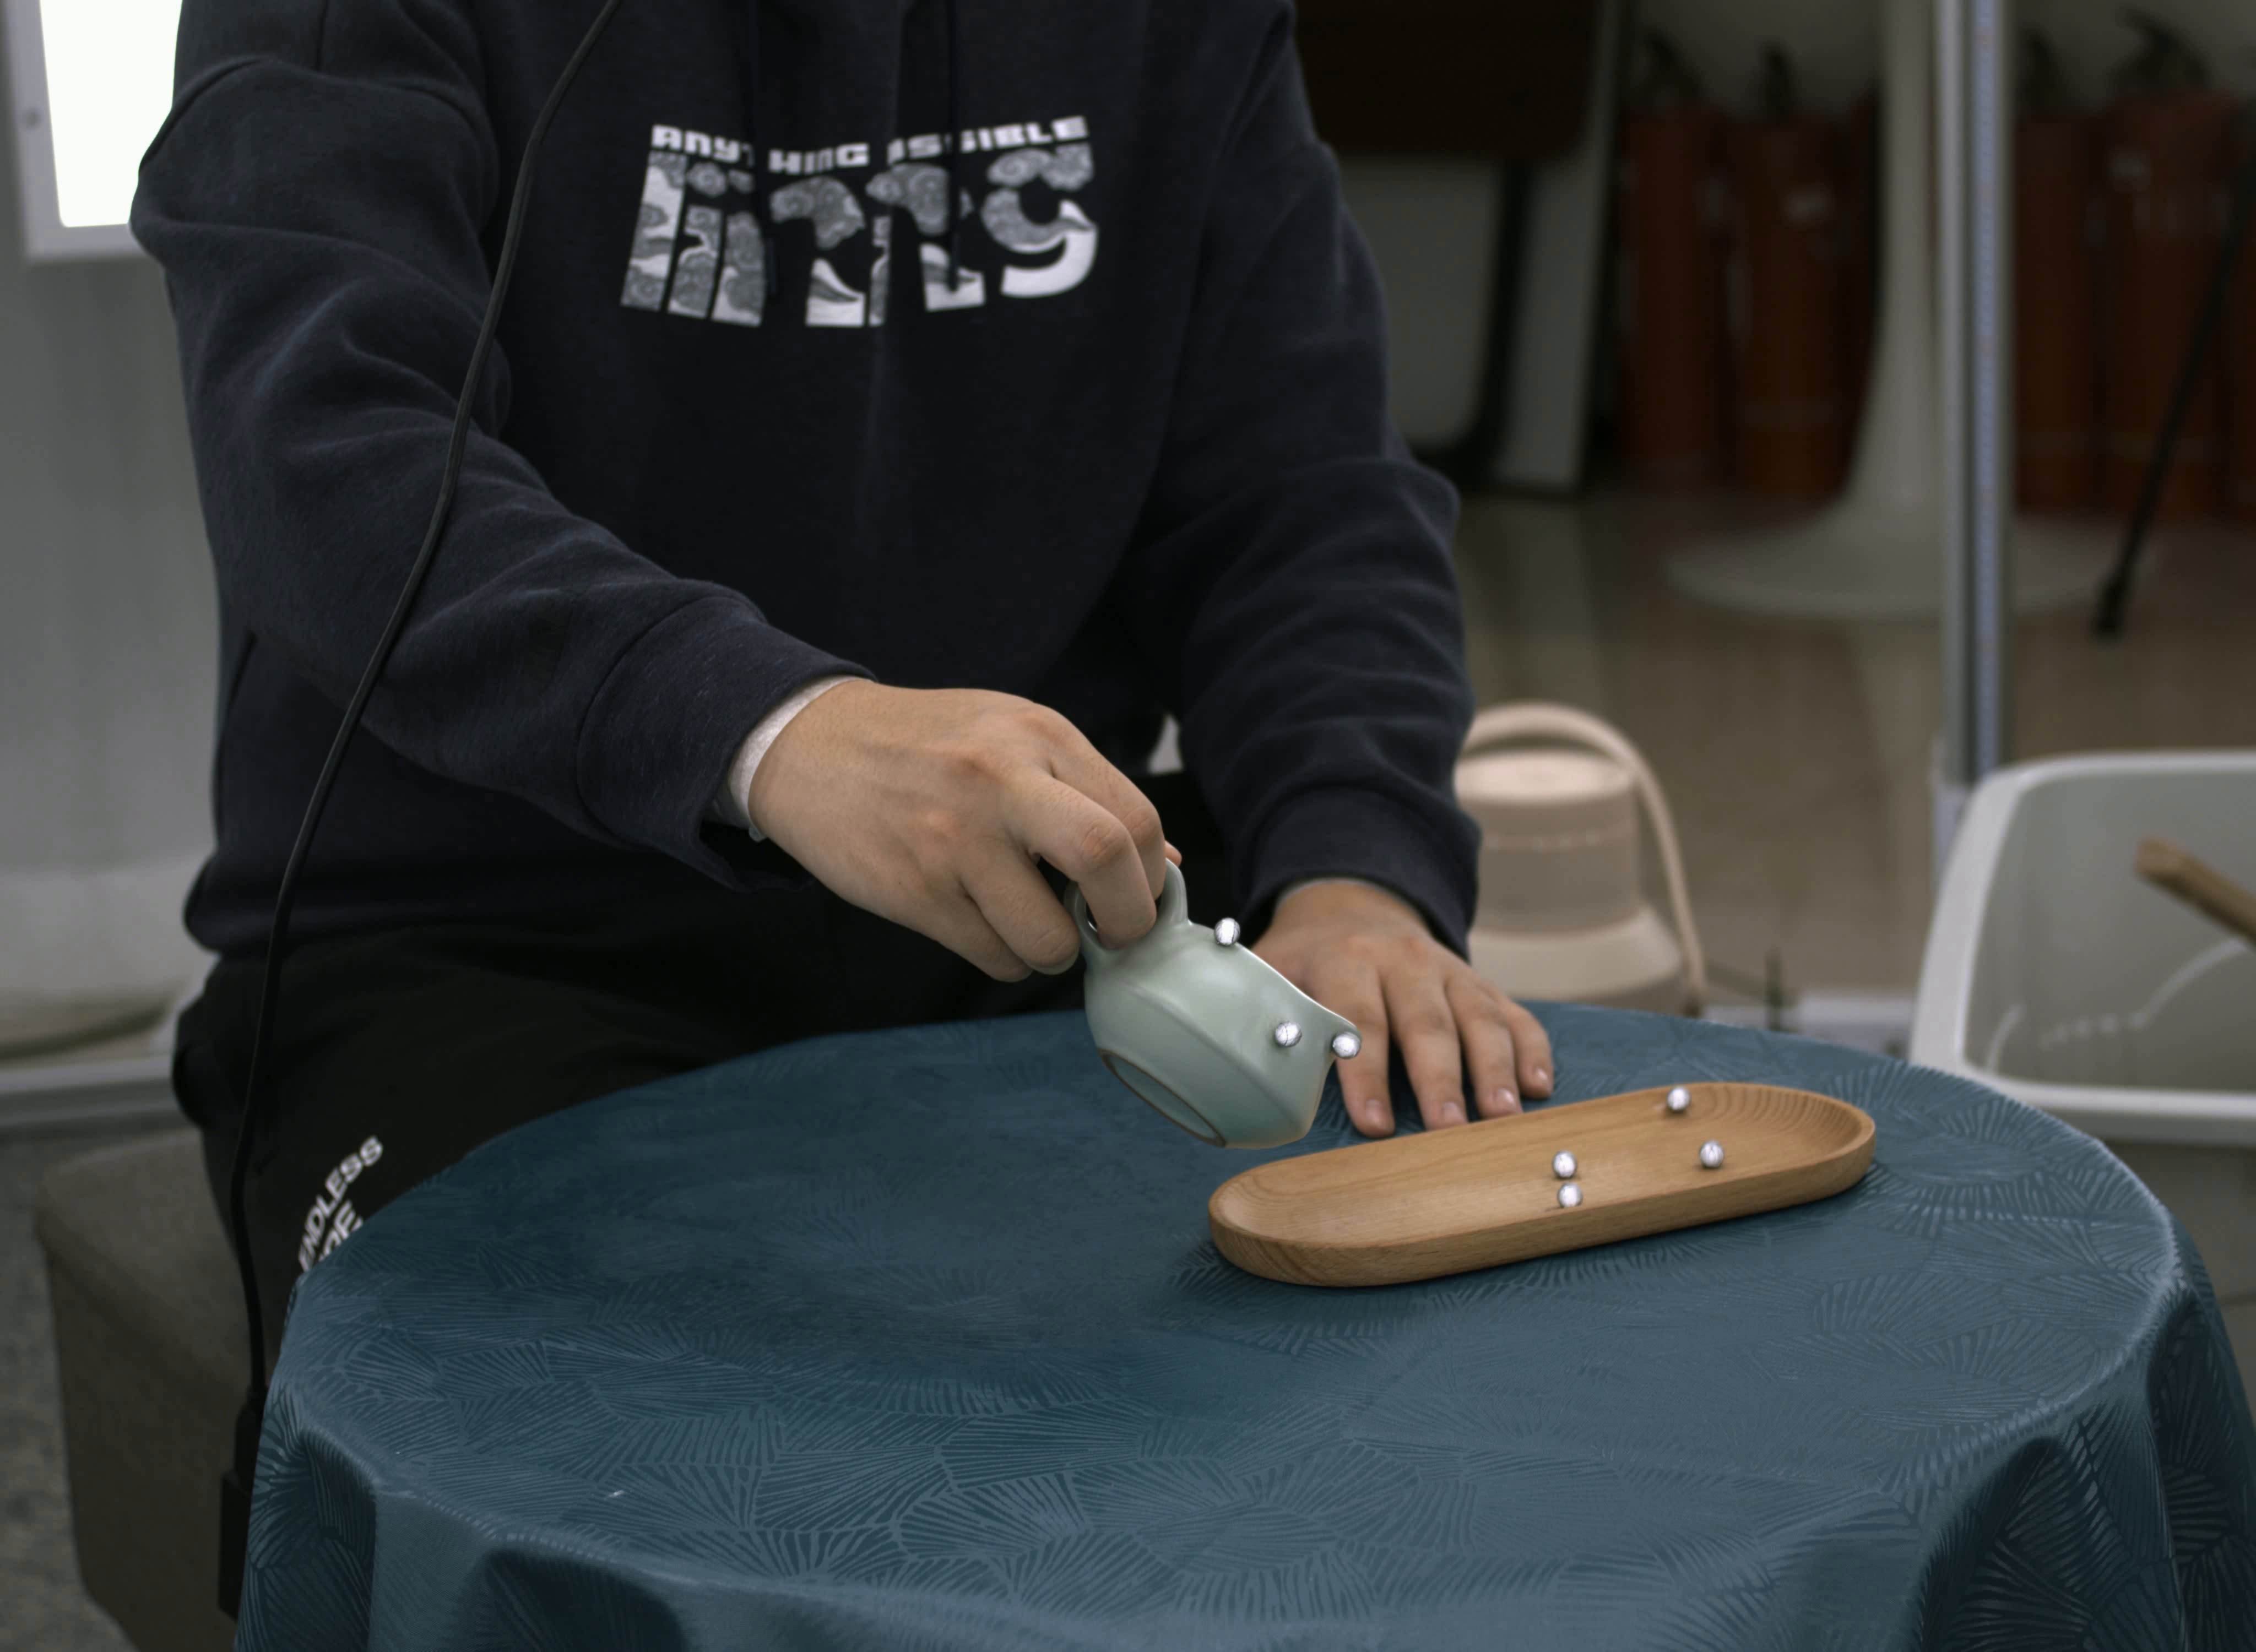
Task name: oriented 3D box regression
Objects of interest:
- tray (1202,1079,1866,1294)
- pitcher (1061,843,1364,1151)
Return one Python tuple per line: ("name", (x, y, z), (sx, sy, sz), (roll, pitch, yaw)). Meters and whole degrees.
("tray", (0.132, 0.115, 1.728), (0.226, 0.020, 0.102), (-12, 14, -22))
("pitcher", (0.019, 0.055, 1.656), (0.060, 0.107, 0.087), (-54, 18, -11))
